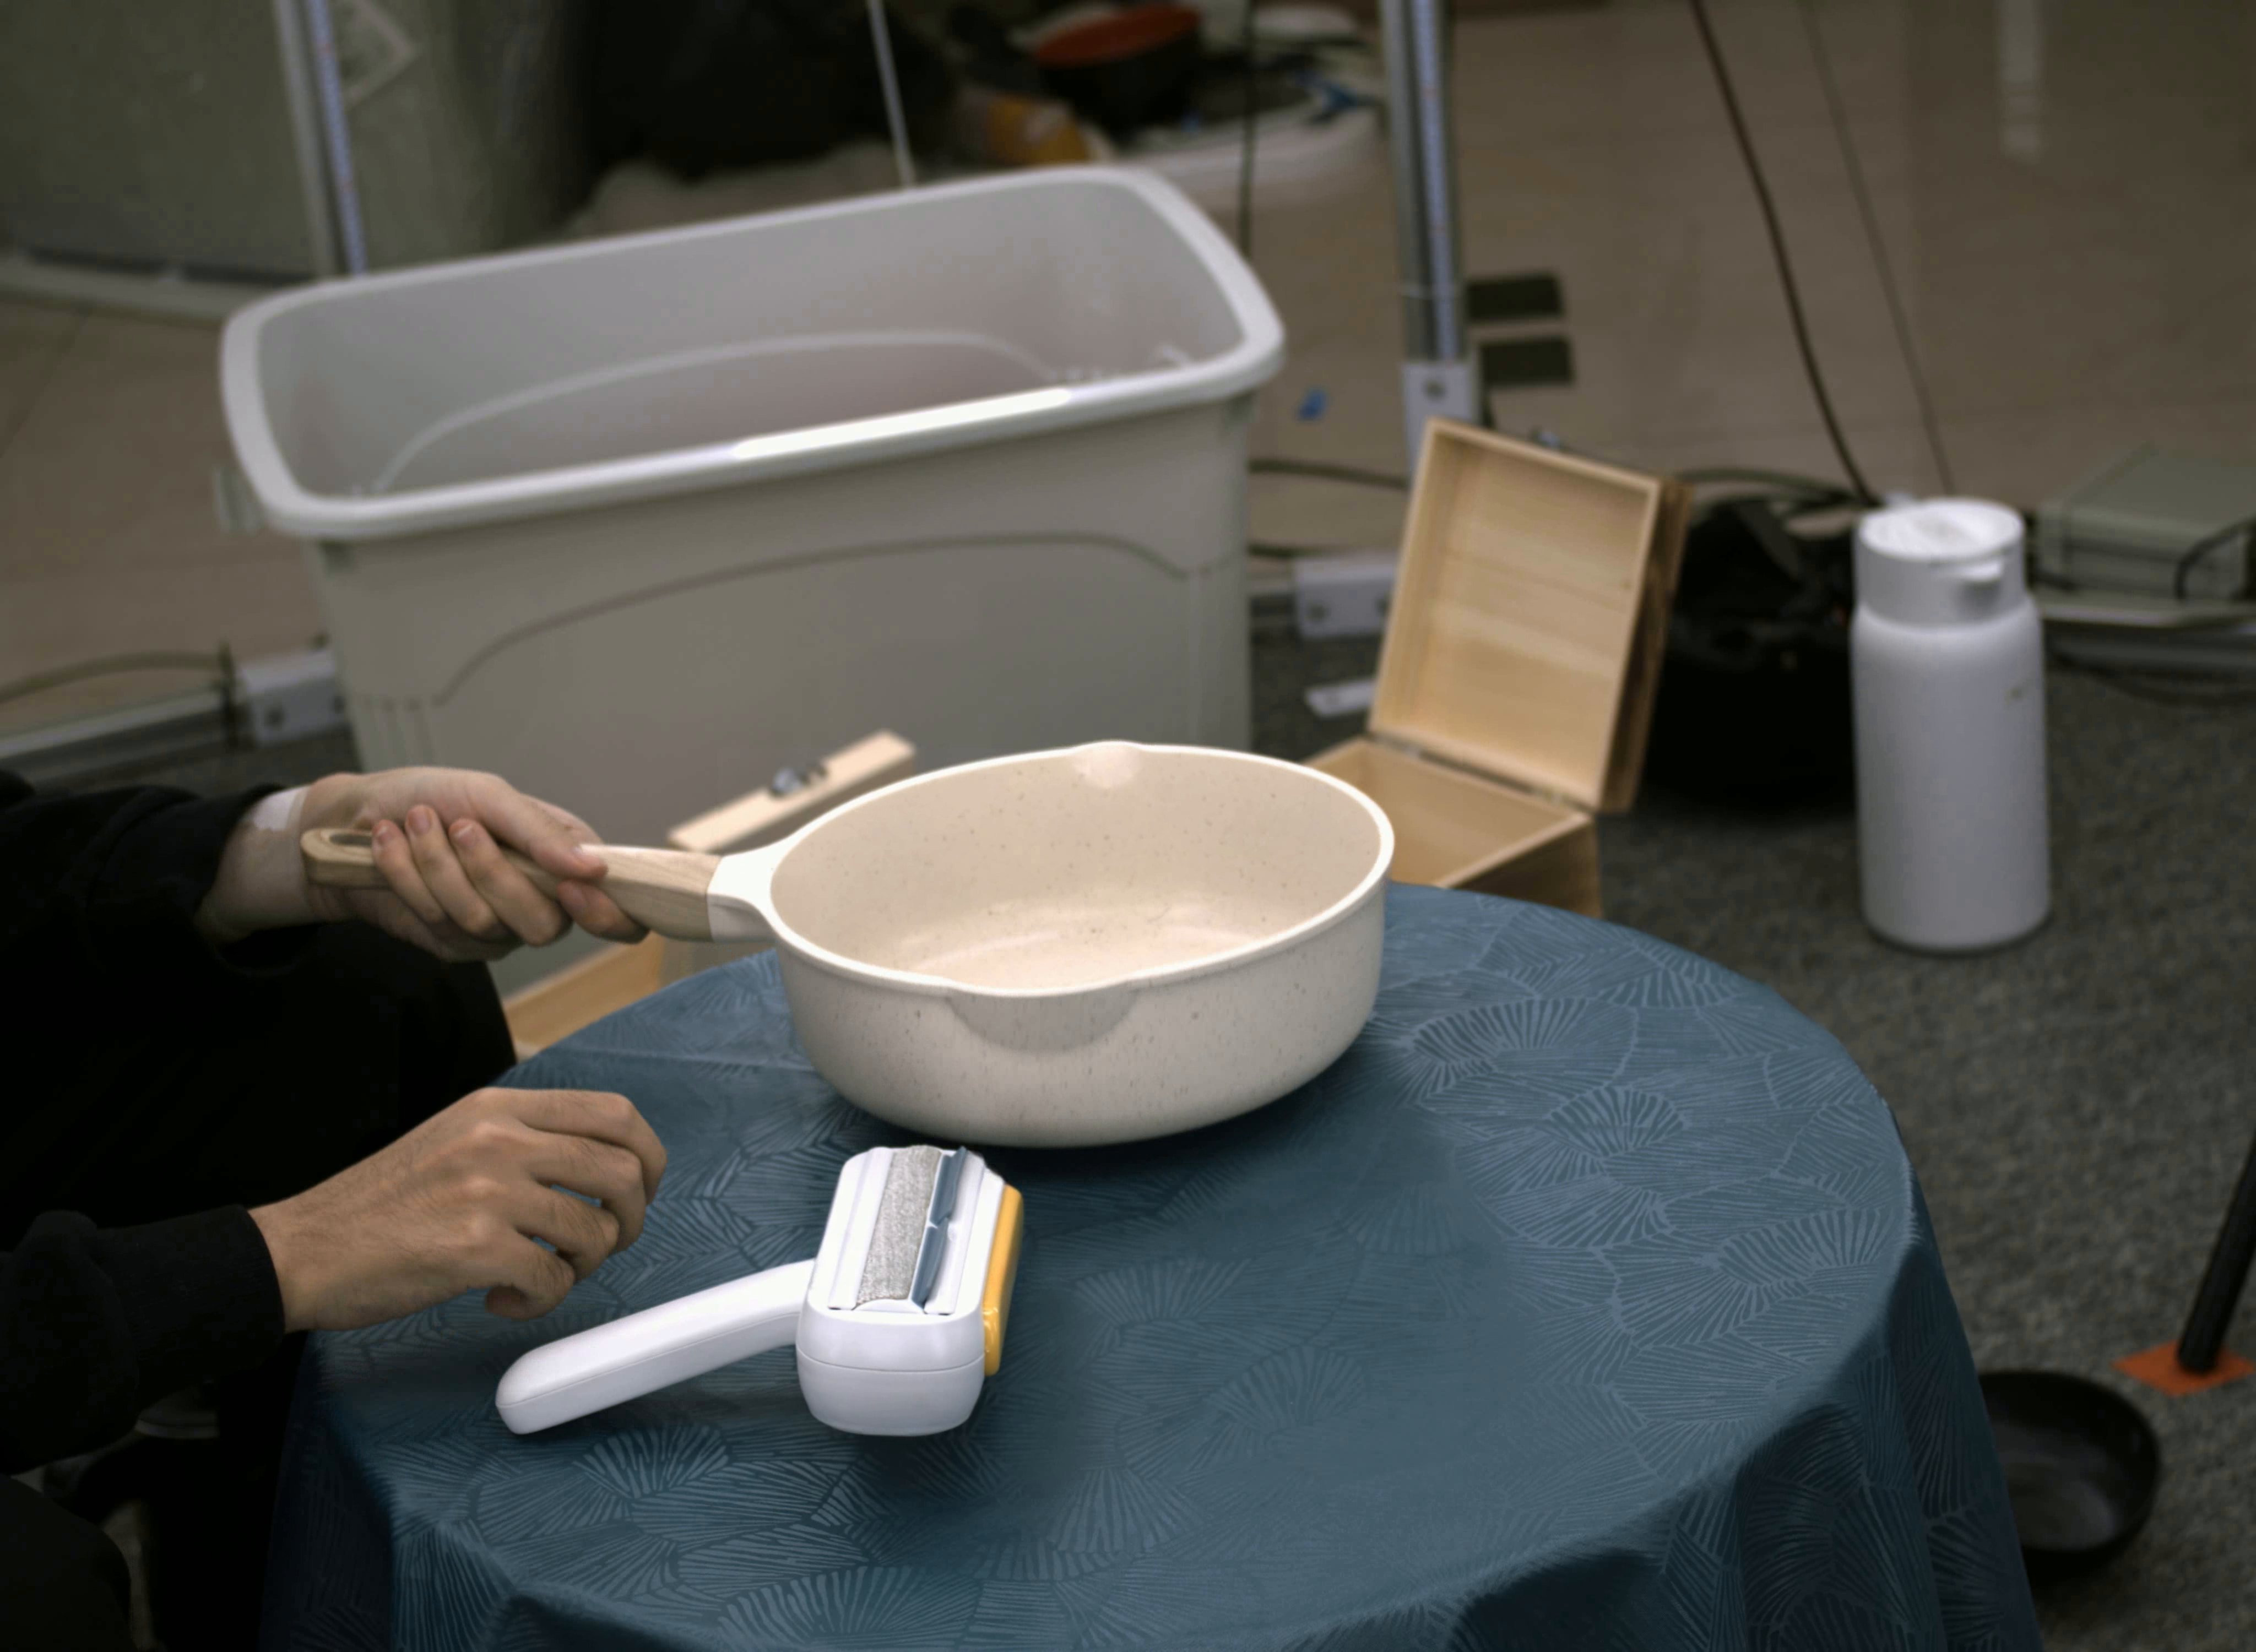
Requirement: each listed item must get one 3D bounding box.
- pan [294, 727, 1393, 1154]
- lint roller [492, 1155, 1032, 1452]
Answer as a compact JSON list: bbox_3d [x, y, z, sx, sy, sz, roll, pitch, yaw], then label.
[{"bbox_3d":[-0.109,0.046,2.237,0.434,0.103,0.259,-3,25,7],"label":"pan"},{"bbox_3d":[-0.135,0.177,2.015,0.192,0.075,0.190,-5,20,8],"label":"lint roller"}]
